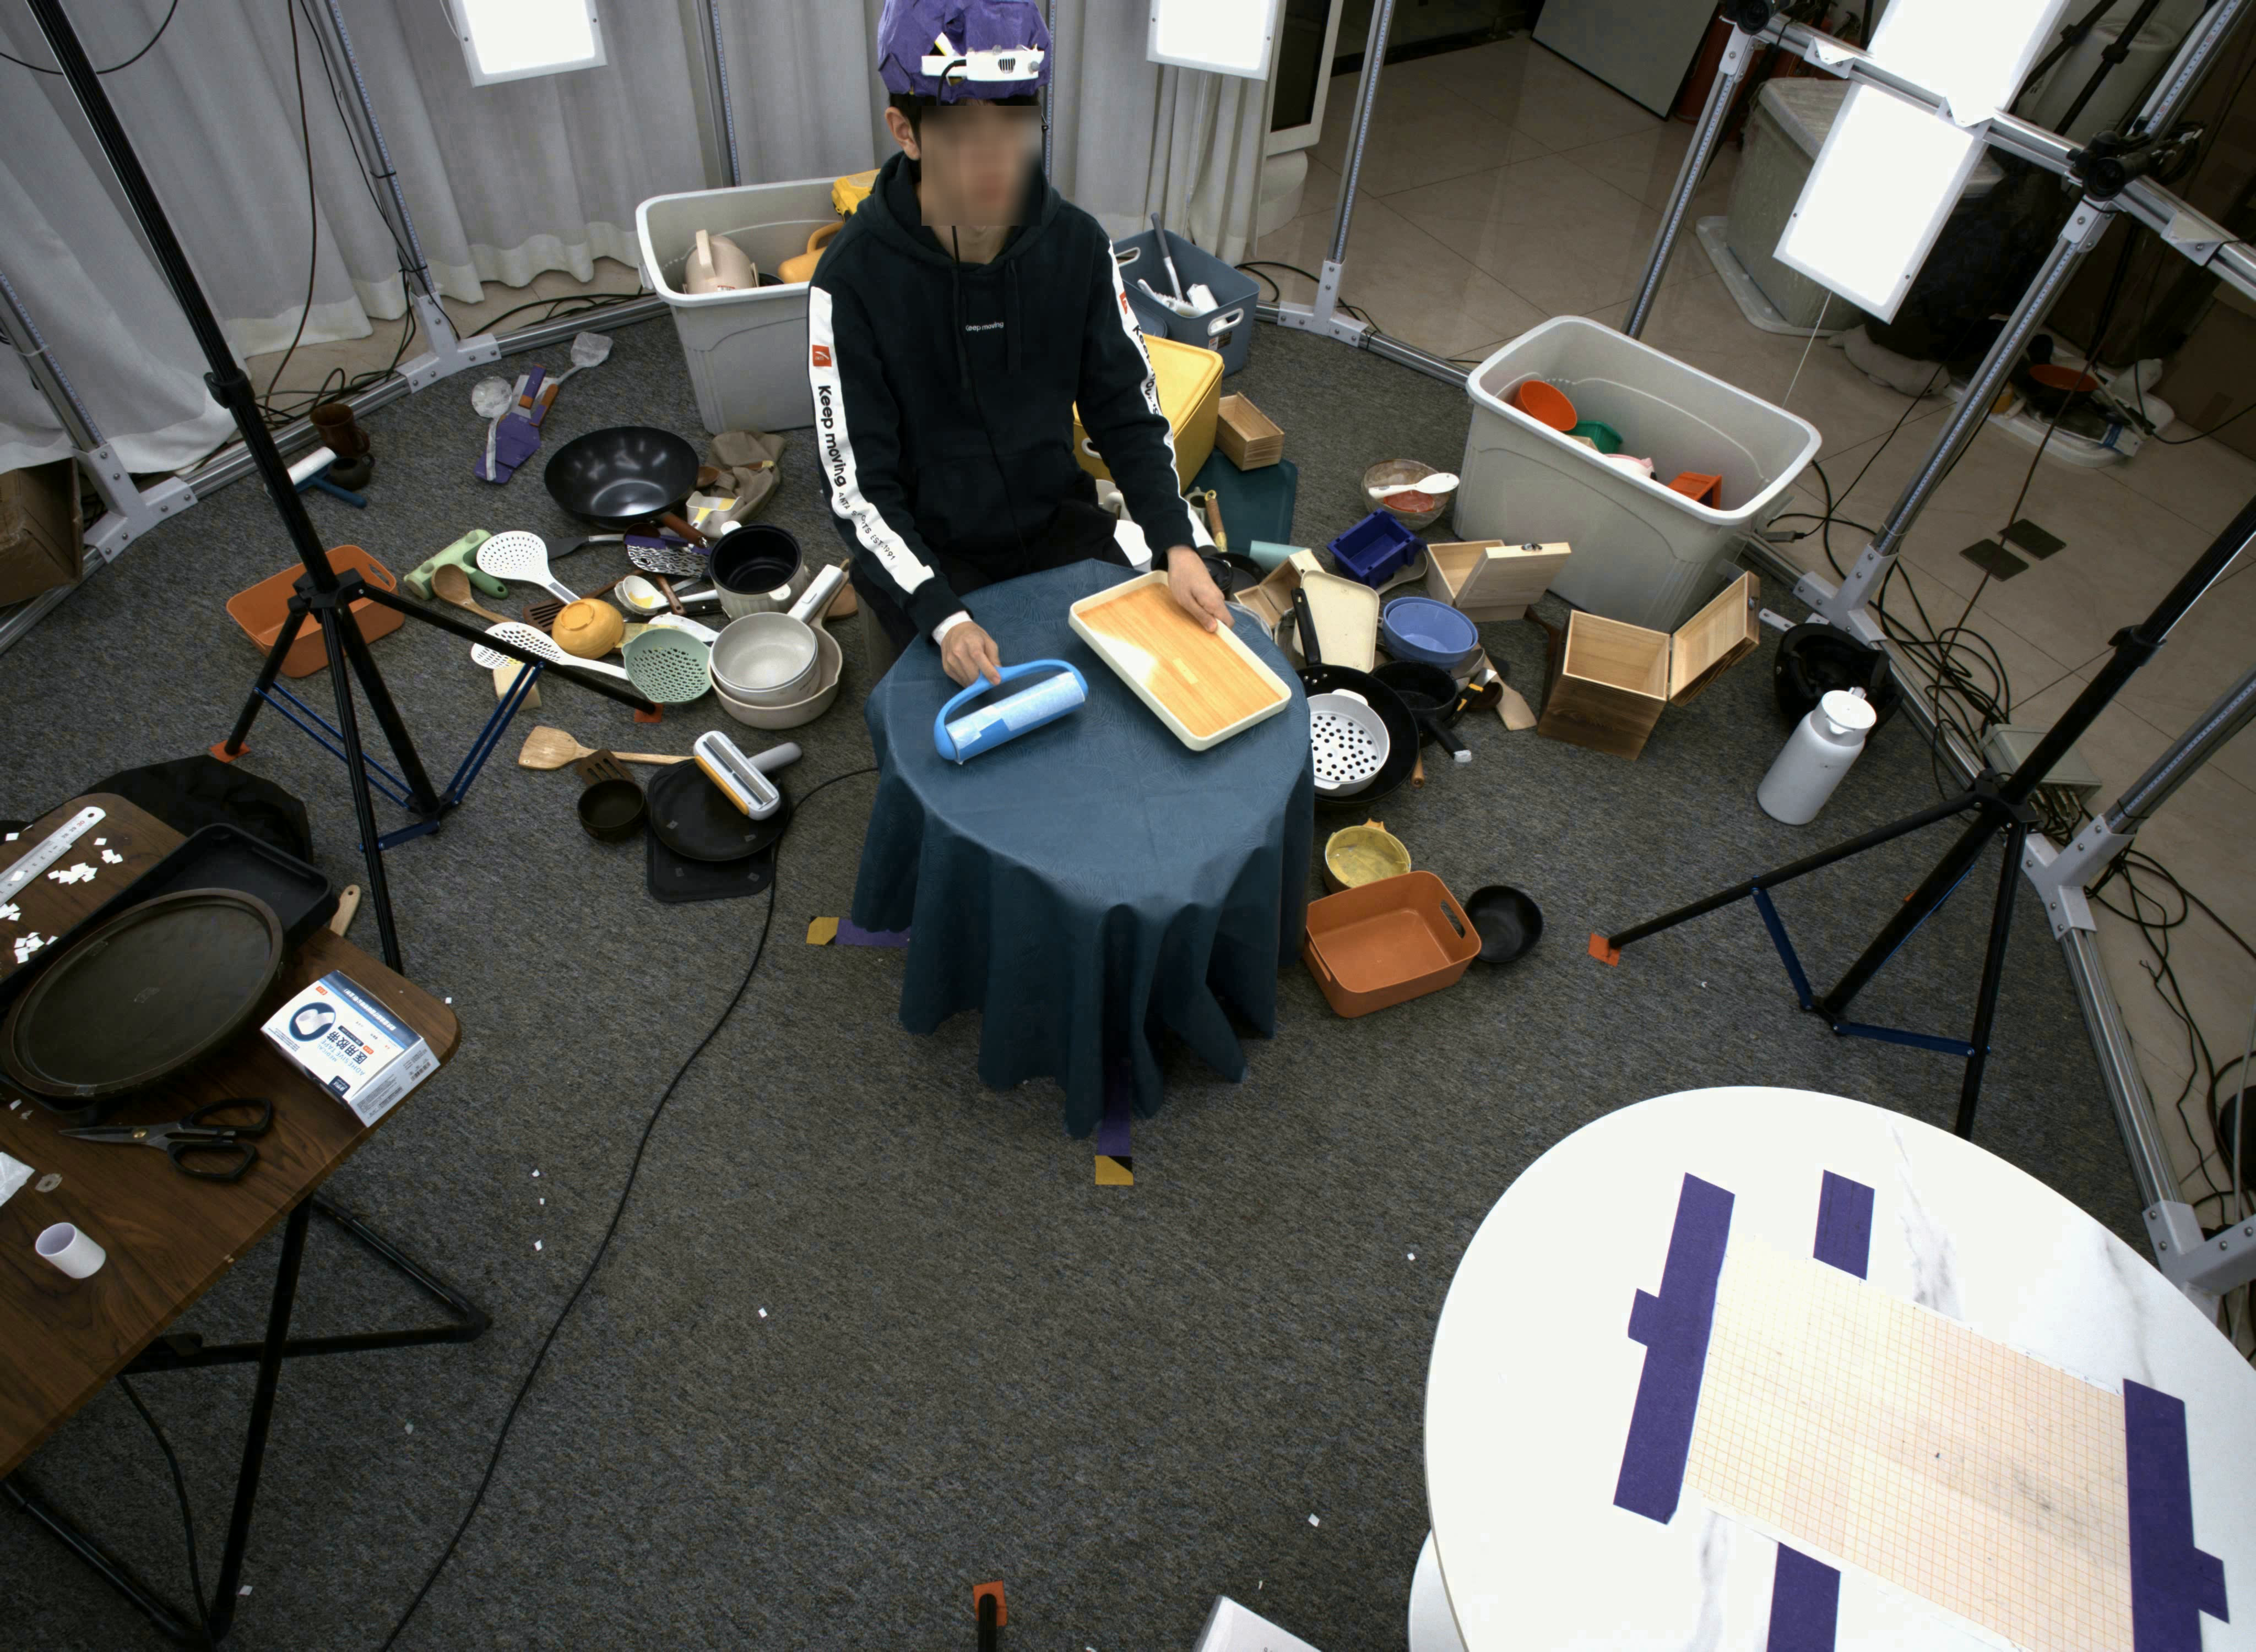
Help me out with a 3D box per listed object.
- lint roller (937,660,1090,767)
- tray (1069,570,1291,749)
[{"bbox_3d":[-0.186,-0.186,1.772,0.230,0.066,0.184,-31,57,-18],"label":"lint roller"},{"bbox_3d":[0.073,-0.244,1.839,0.192,0.027,0.305,-26,61,-31],"label":"tray"}]
